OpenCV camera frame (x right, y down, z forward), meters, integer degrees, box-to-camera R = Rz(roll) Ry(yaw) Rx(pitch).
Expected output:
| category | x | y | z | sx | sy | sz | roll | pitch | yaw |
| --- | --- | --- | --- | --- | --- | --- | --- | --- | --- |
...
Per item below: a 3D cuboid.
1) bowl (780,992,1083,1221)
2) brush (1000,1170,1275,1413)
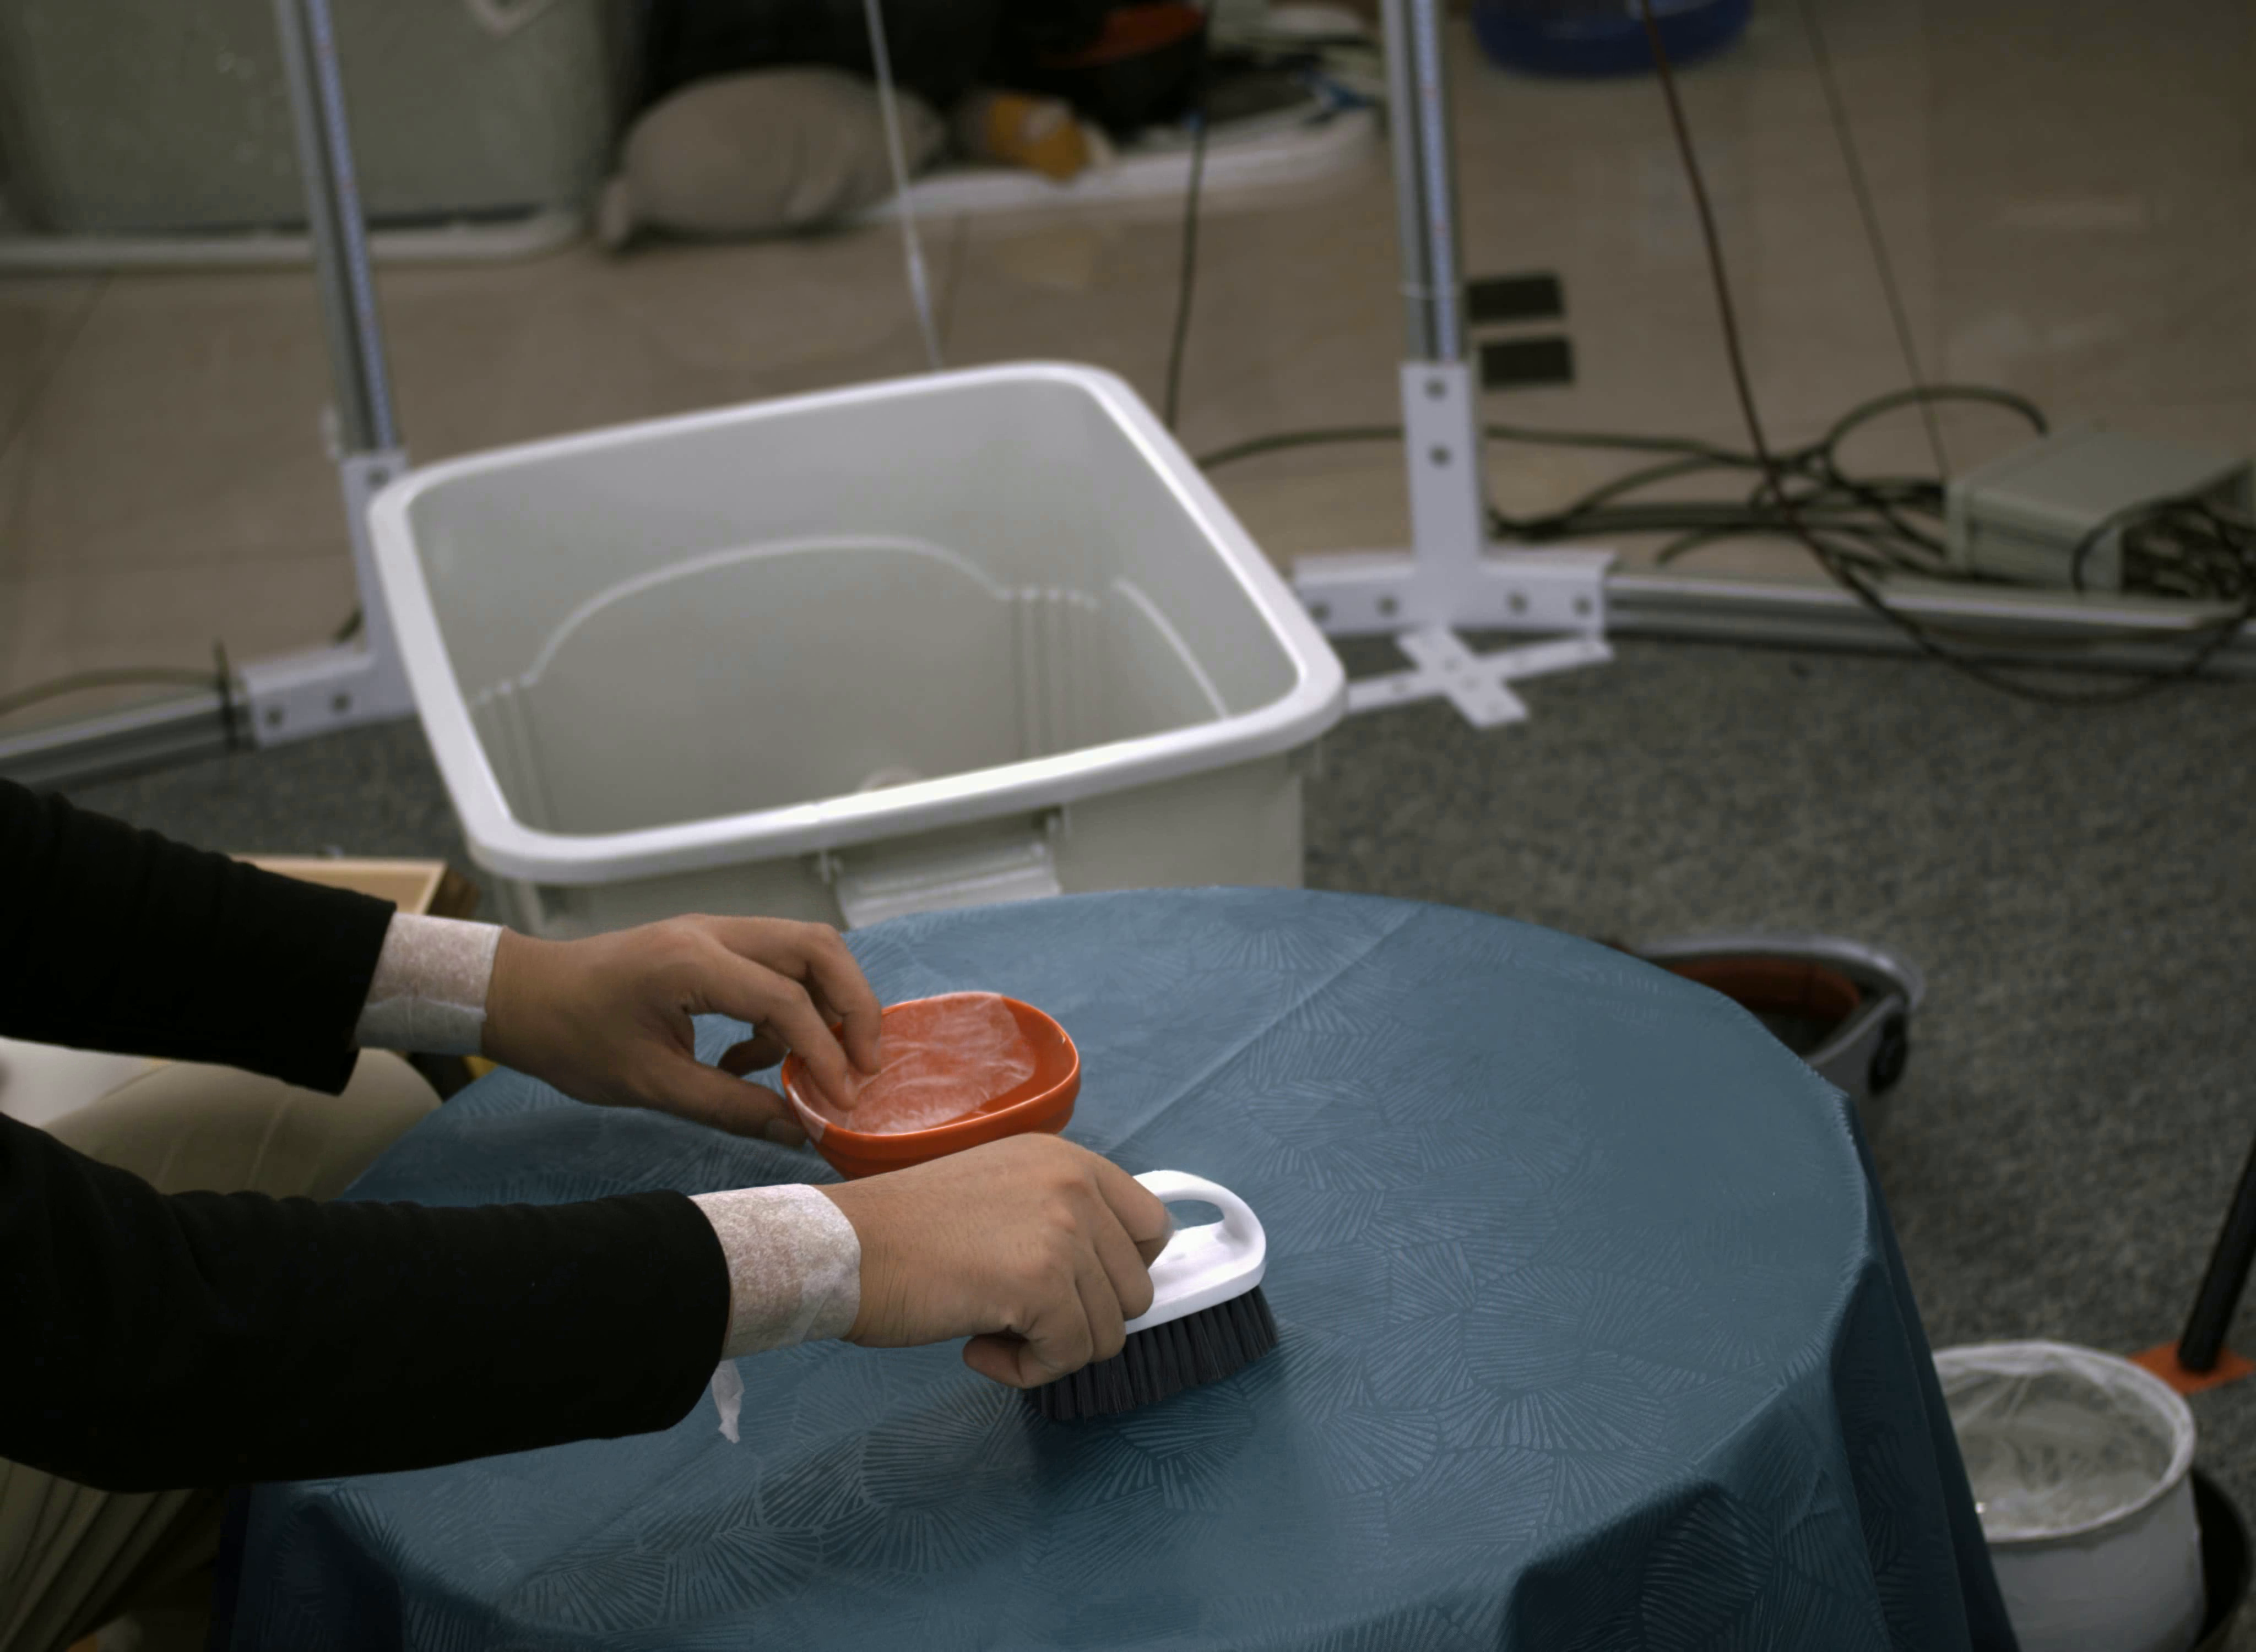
| category | x | y | z | sx | sy | sz | roll | pitch | yaw |
| --- | --- | --- | --- | --- | --- | --- | --- | --- | --- |
| bowl | -0.074 | 0.111 | 2.162 | 0.119 | 0.052 | 0.117 | -2 | 25 | 1 |
| brush | 0.002 | 0.159 | 2.015 | 0.099 | 0.074 | 0.049 | -15 | 28 | -18 |
